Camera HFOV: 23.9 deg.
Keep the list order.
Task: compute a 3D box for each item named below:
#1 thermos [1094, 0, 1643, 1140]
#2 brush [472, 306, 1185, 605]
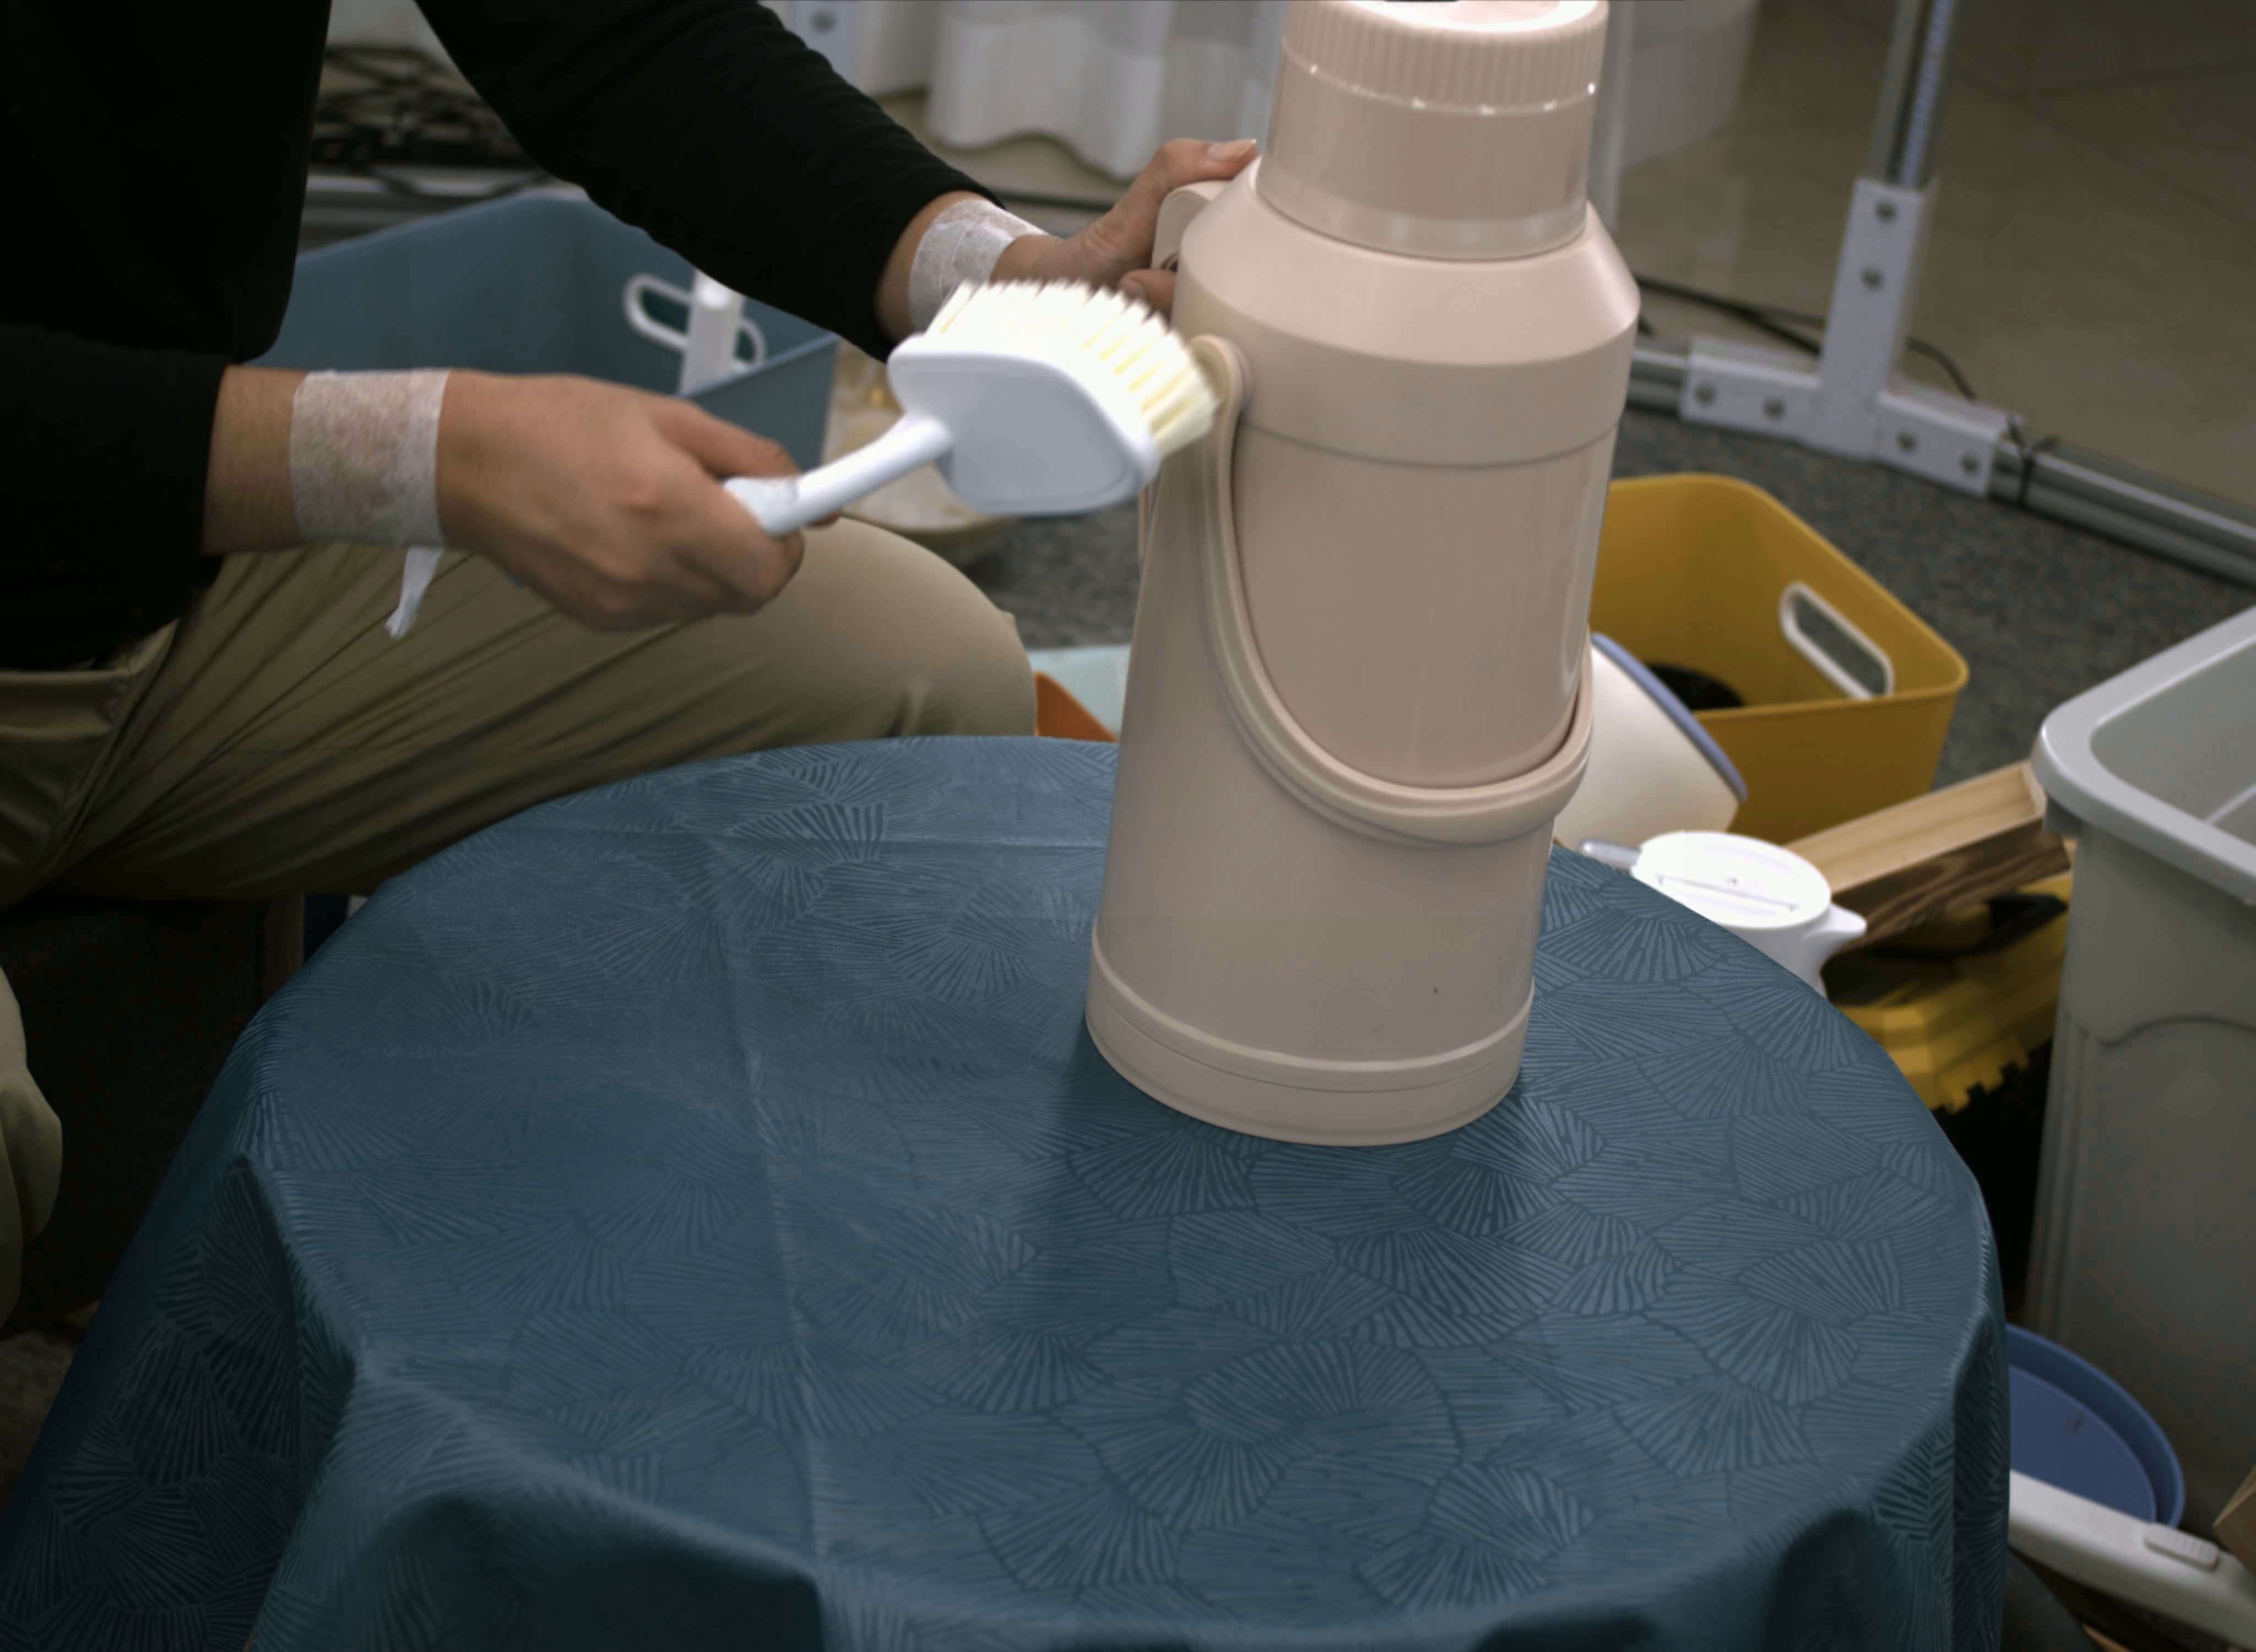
[{"bbox_3d":[0.077,-0.108,1.836,0.174,0.405,0.209,-17,35,-36],"label":"thermos"},{"bbox_3d":[-0.101,-0.129,1.815,0.327,0.083,0.084,-6,-6,44],"label":"brush"}]
